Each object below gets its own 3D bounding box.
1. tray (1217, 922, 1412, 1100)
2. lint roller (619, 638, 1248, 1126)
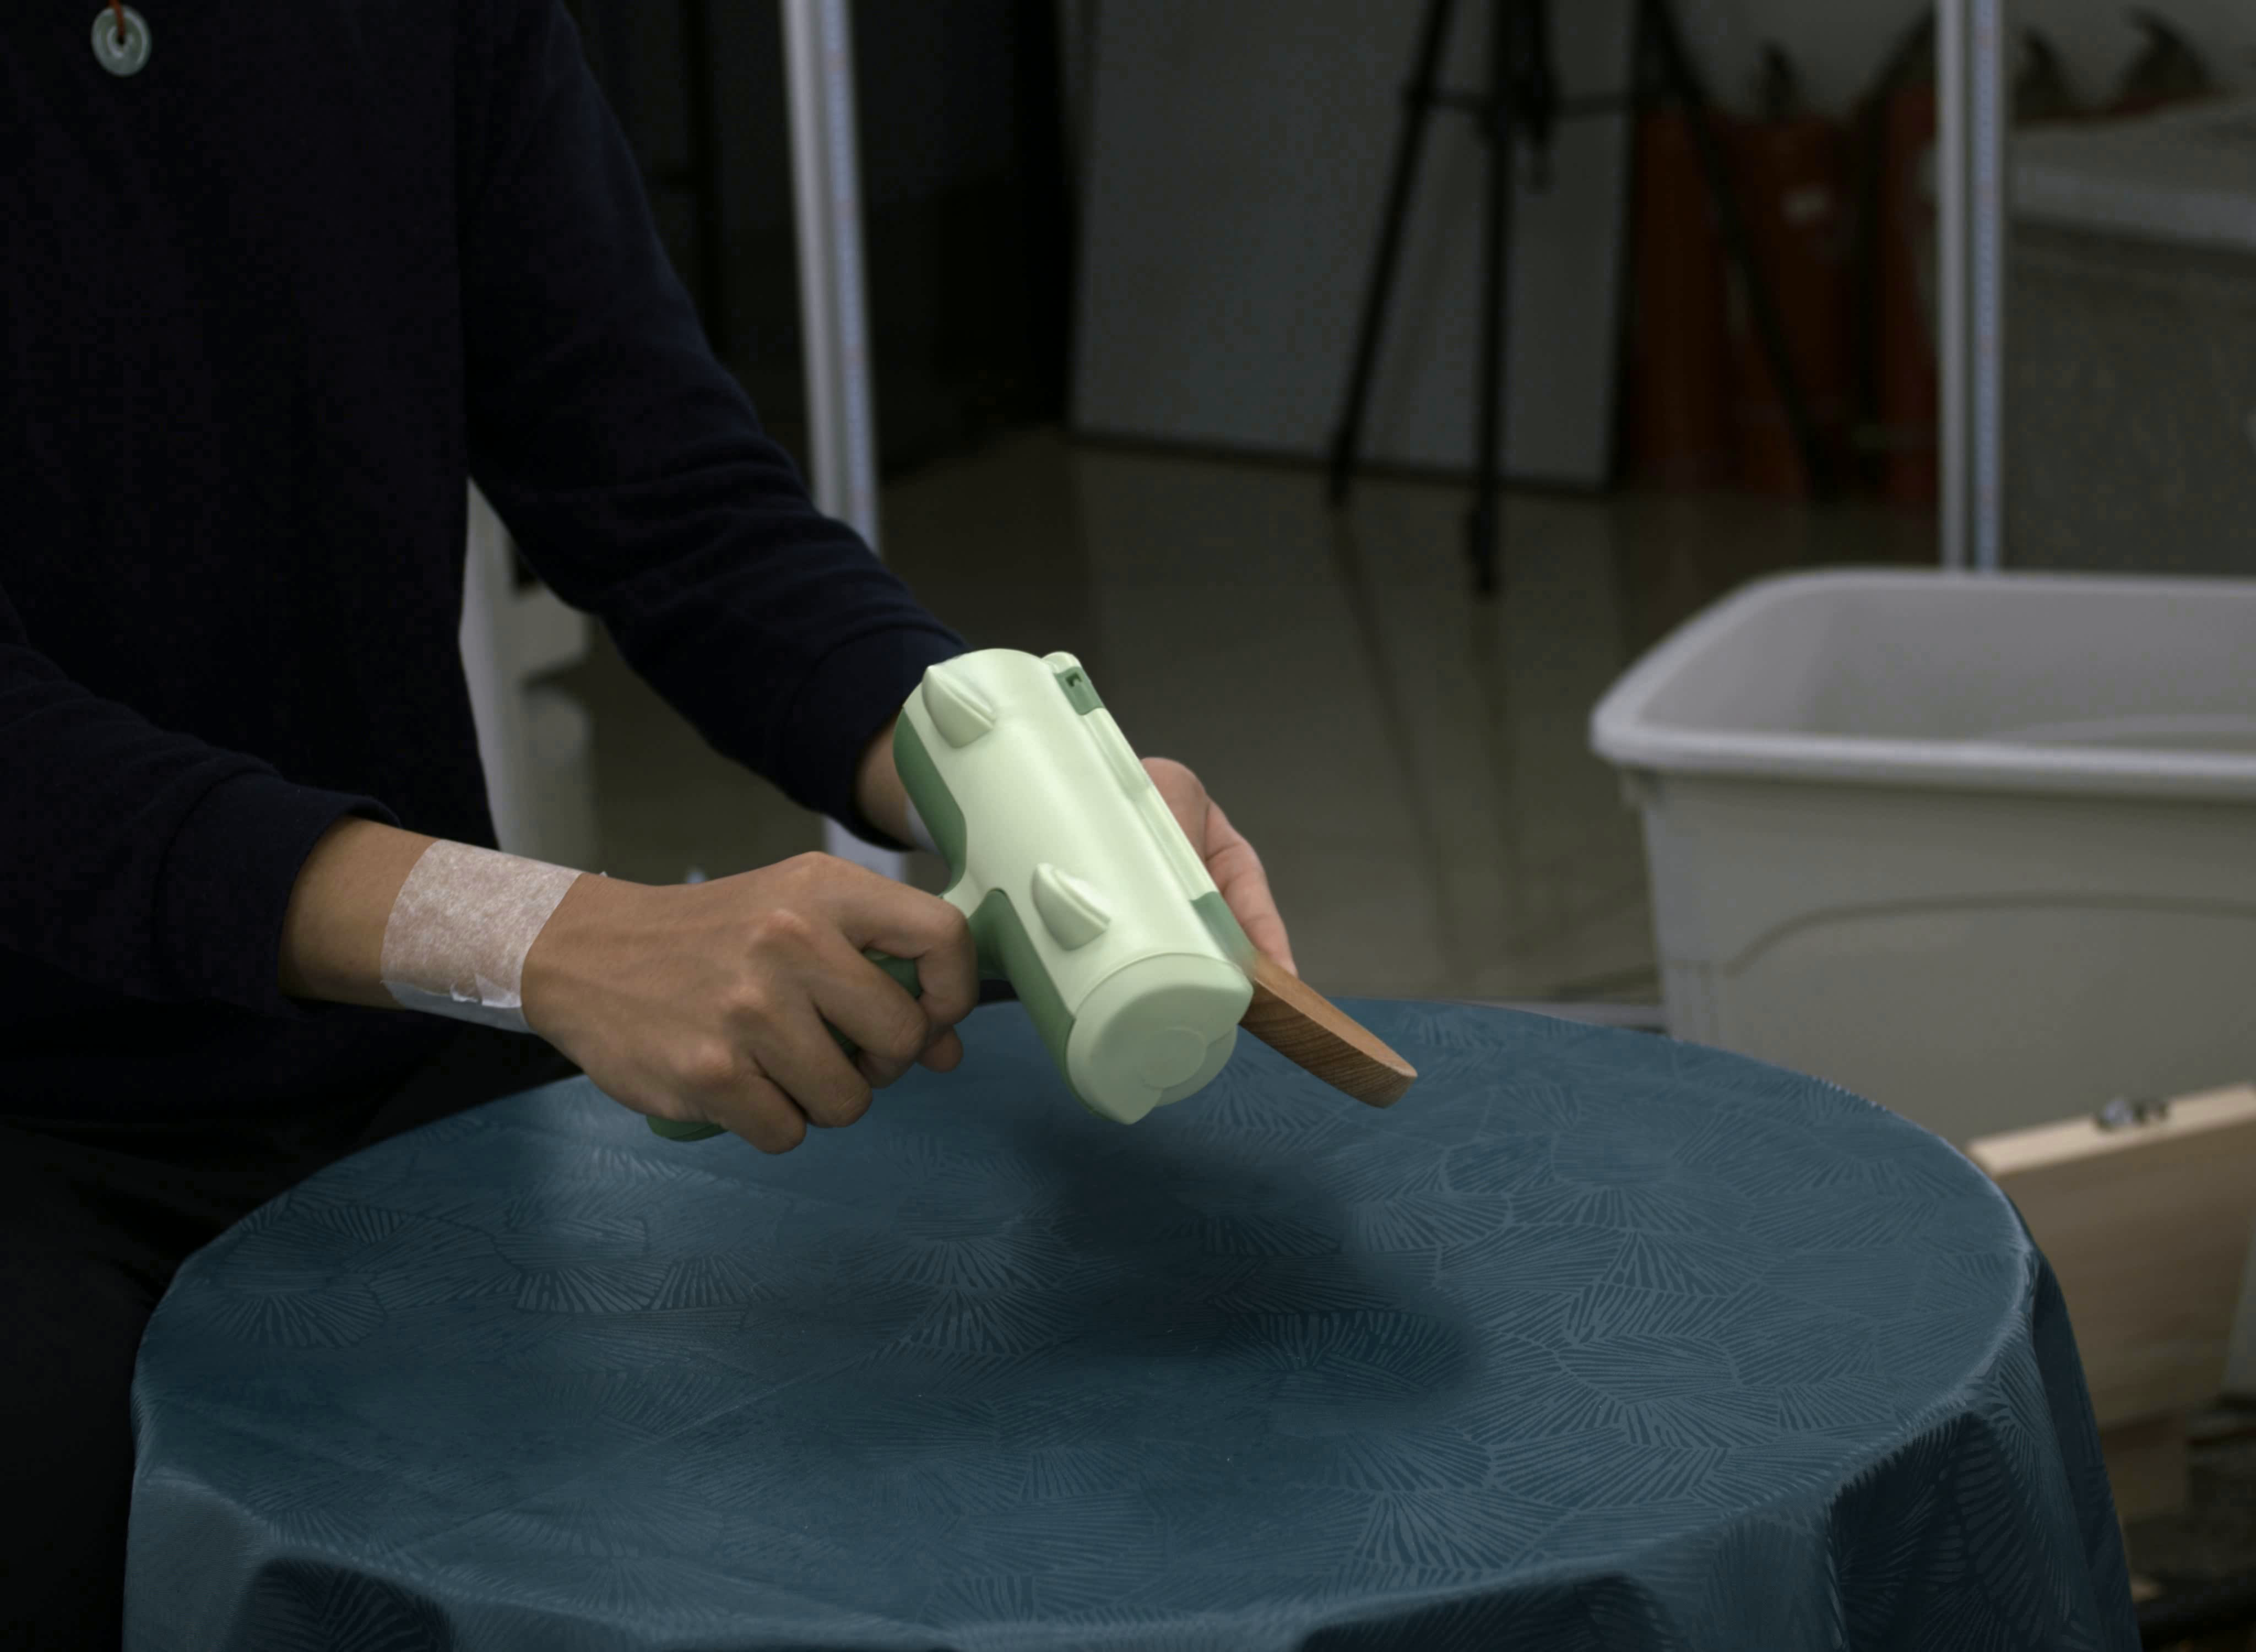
[{"bbox_3d":[0.013,0.032,1.704,0.100,0.020,0.233,34,0,-31],"label":"tray"},{"bbox_3d":[-0.075,0.026,1.615,0.181,0.082,0.201,-22,36,-6],"label":"lint roller"}]
